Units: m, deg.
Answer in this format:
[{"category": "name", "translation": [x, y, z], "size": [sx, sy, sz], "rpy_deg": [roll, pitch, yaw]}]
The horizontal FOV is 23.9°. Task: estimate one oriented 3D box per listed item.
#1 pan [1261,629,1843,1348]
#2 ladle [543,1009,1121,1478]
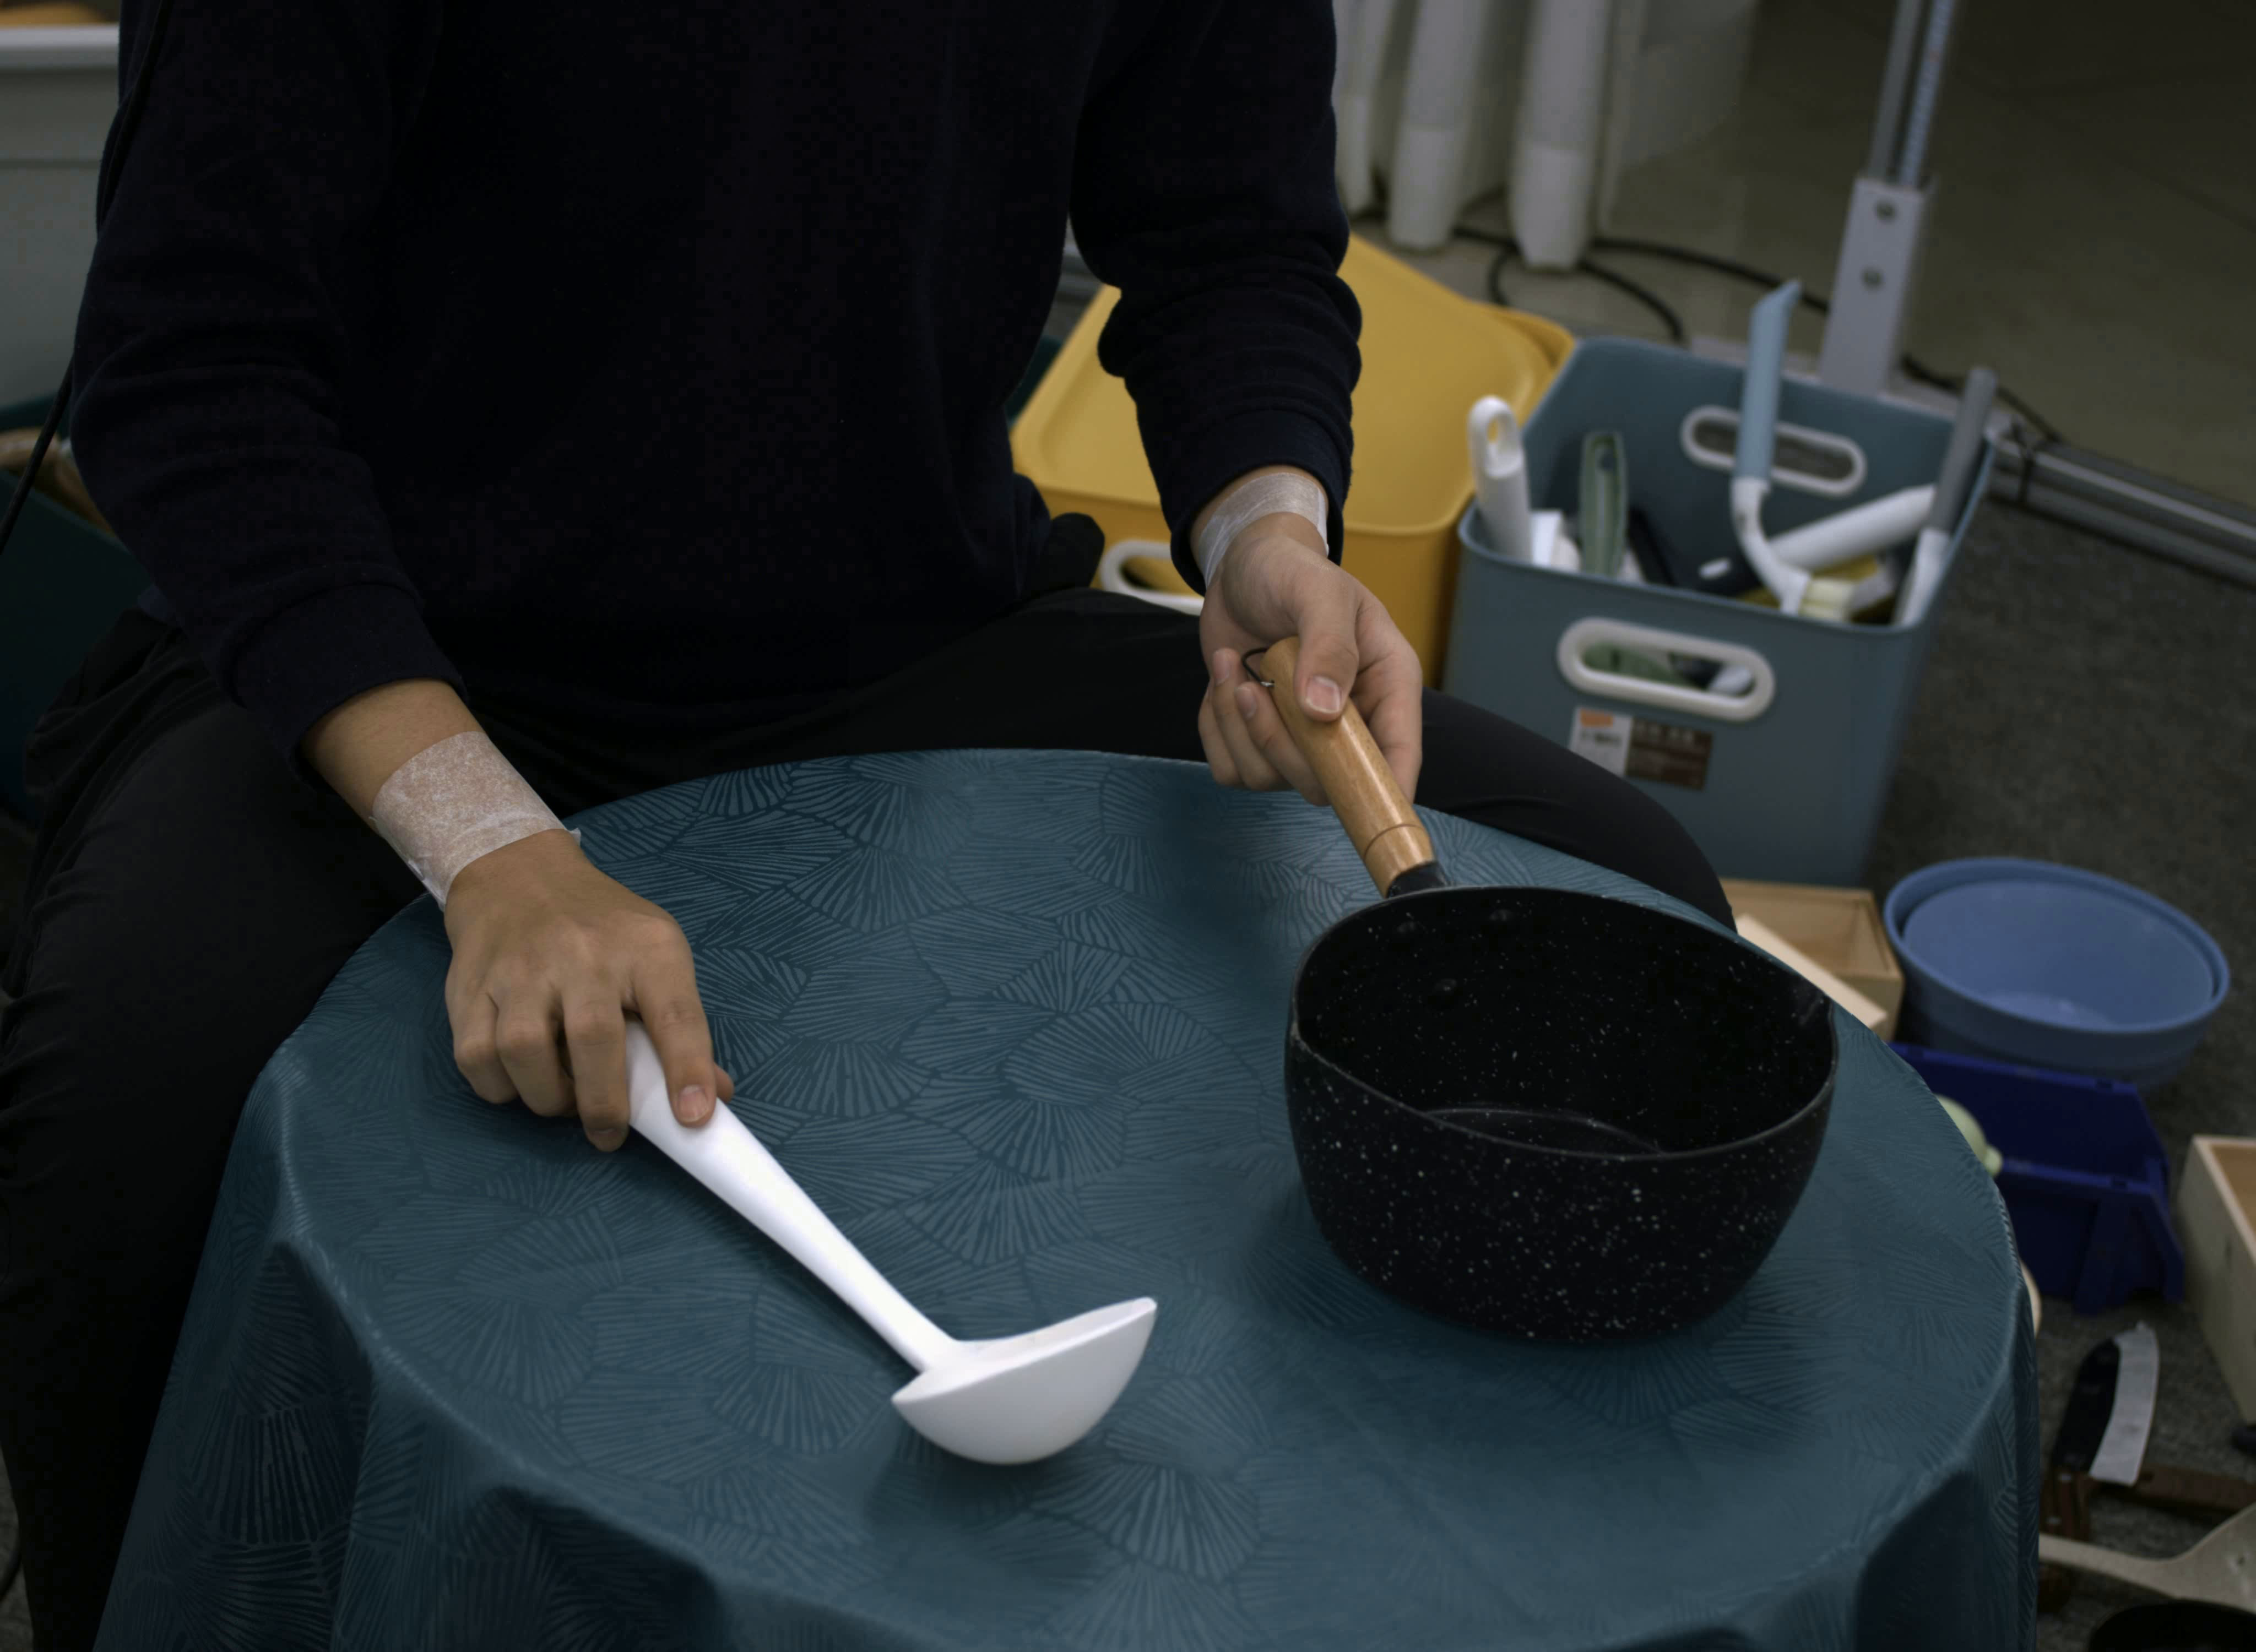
[{"category": "pan", "translation": [0.113, 0.053, 1.848], "size": [0.206, 0.108, 0.346], "rpy_deg": [-6, 30, -22]}, {"category": "ladle", "translation": [-0.106, 0.123, 1.711], "size": [0.090, 0.069, 0.295], "rpy_deg": [-27, 39, -24]}]
